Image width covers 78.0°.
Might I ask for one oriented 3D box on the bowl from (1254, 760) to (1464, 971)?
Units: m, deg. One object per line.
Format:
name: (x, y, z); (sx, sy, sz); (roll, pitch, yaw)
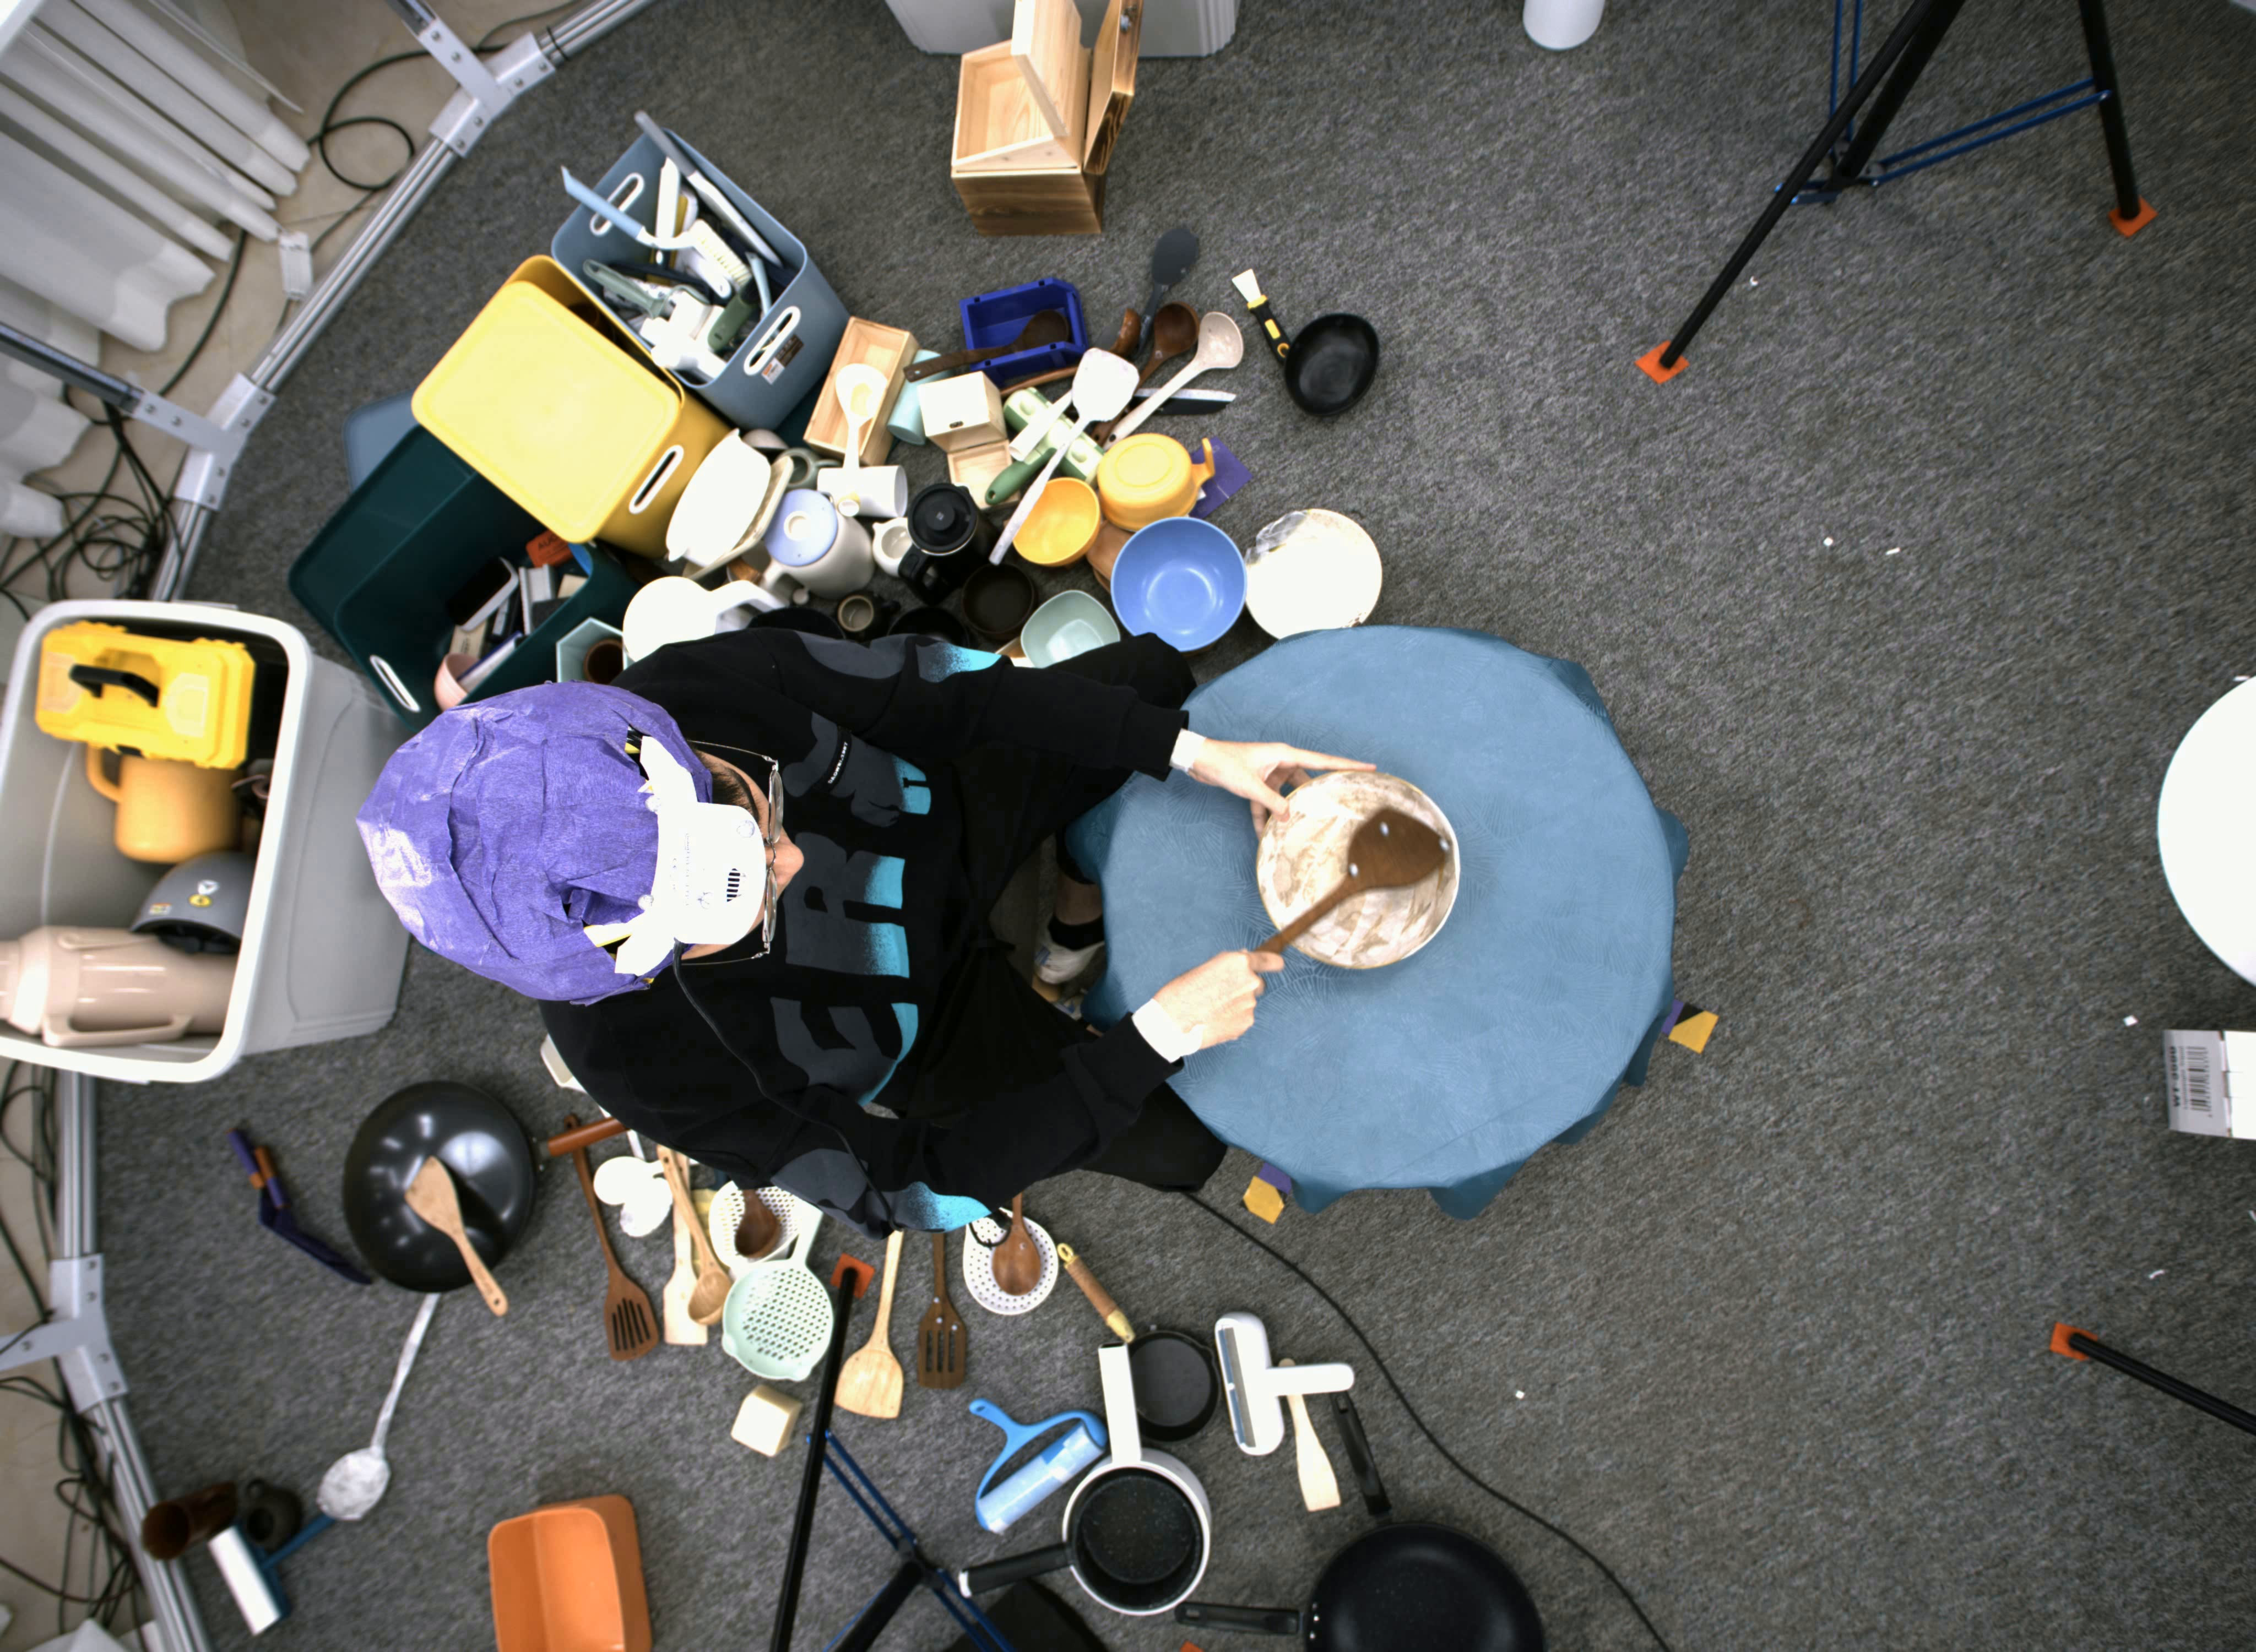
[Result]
bowl: (0.238, 0.041, 1.423); (0.215, 0.094, 0.214); (0, 89, 12)

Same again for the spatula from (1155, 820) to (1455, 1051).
spatula: (0.169, 0.104, 1.335); (0.380, 0.016, 0.095); (-33, 51, -27)
